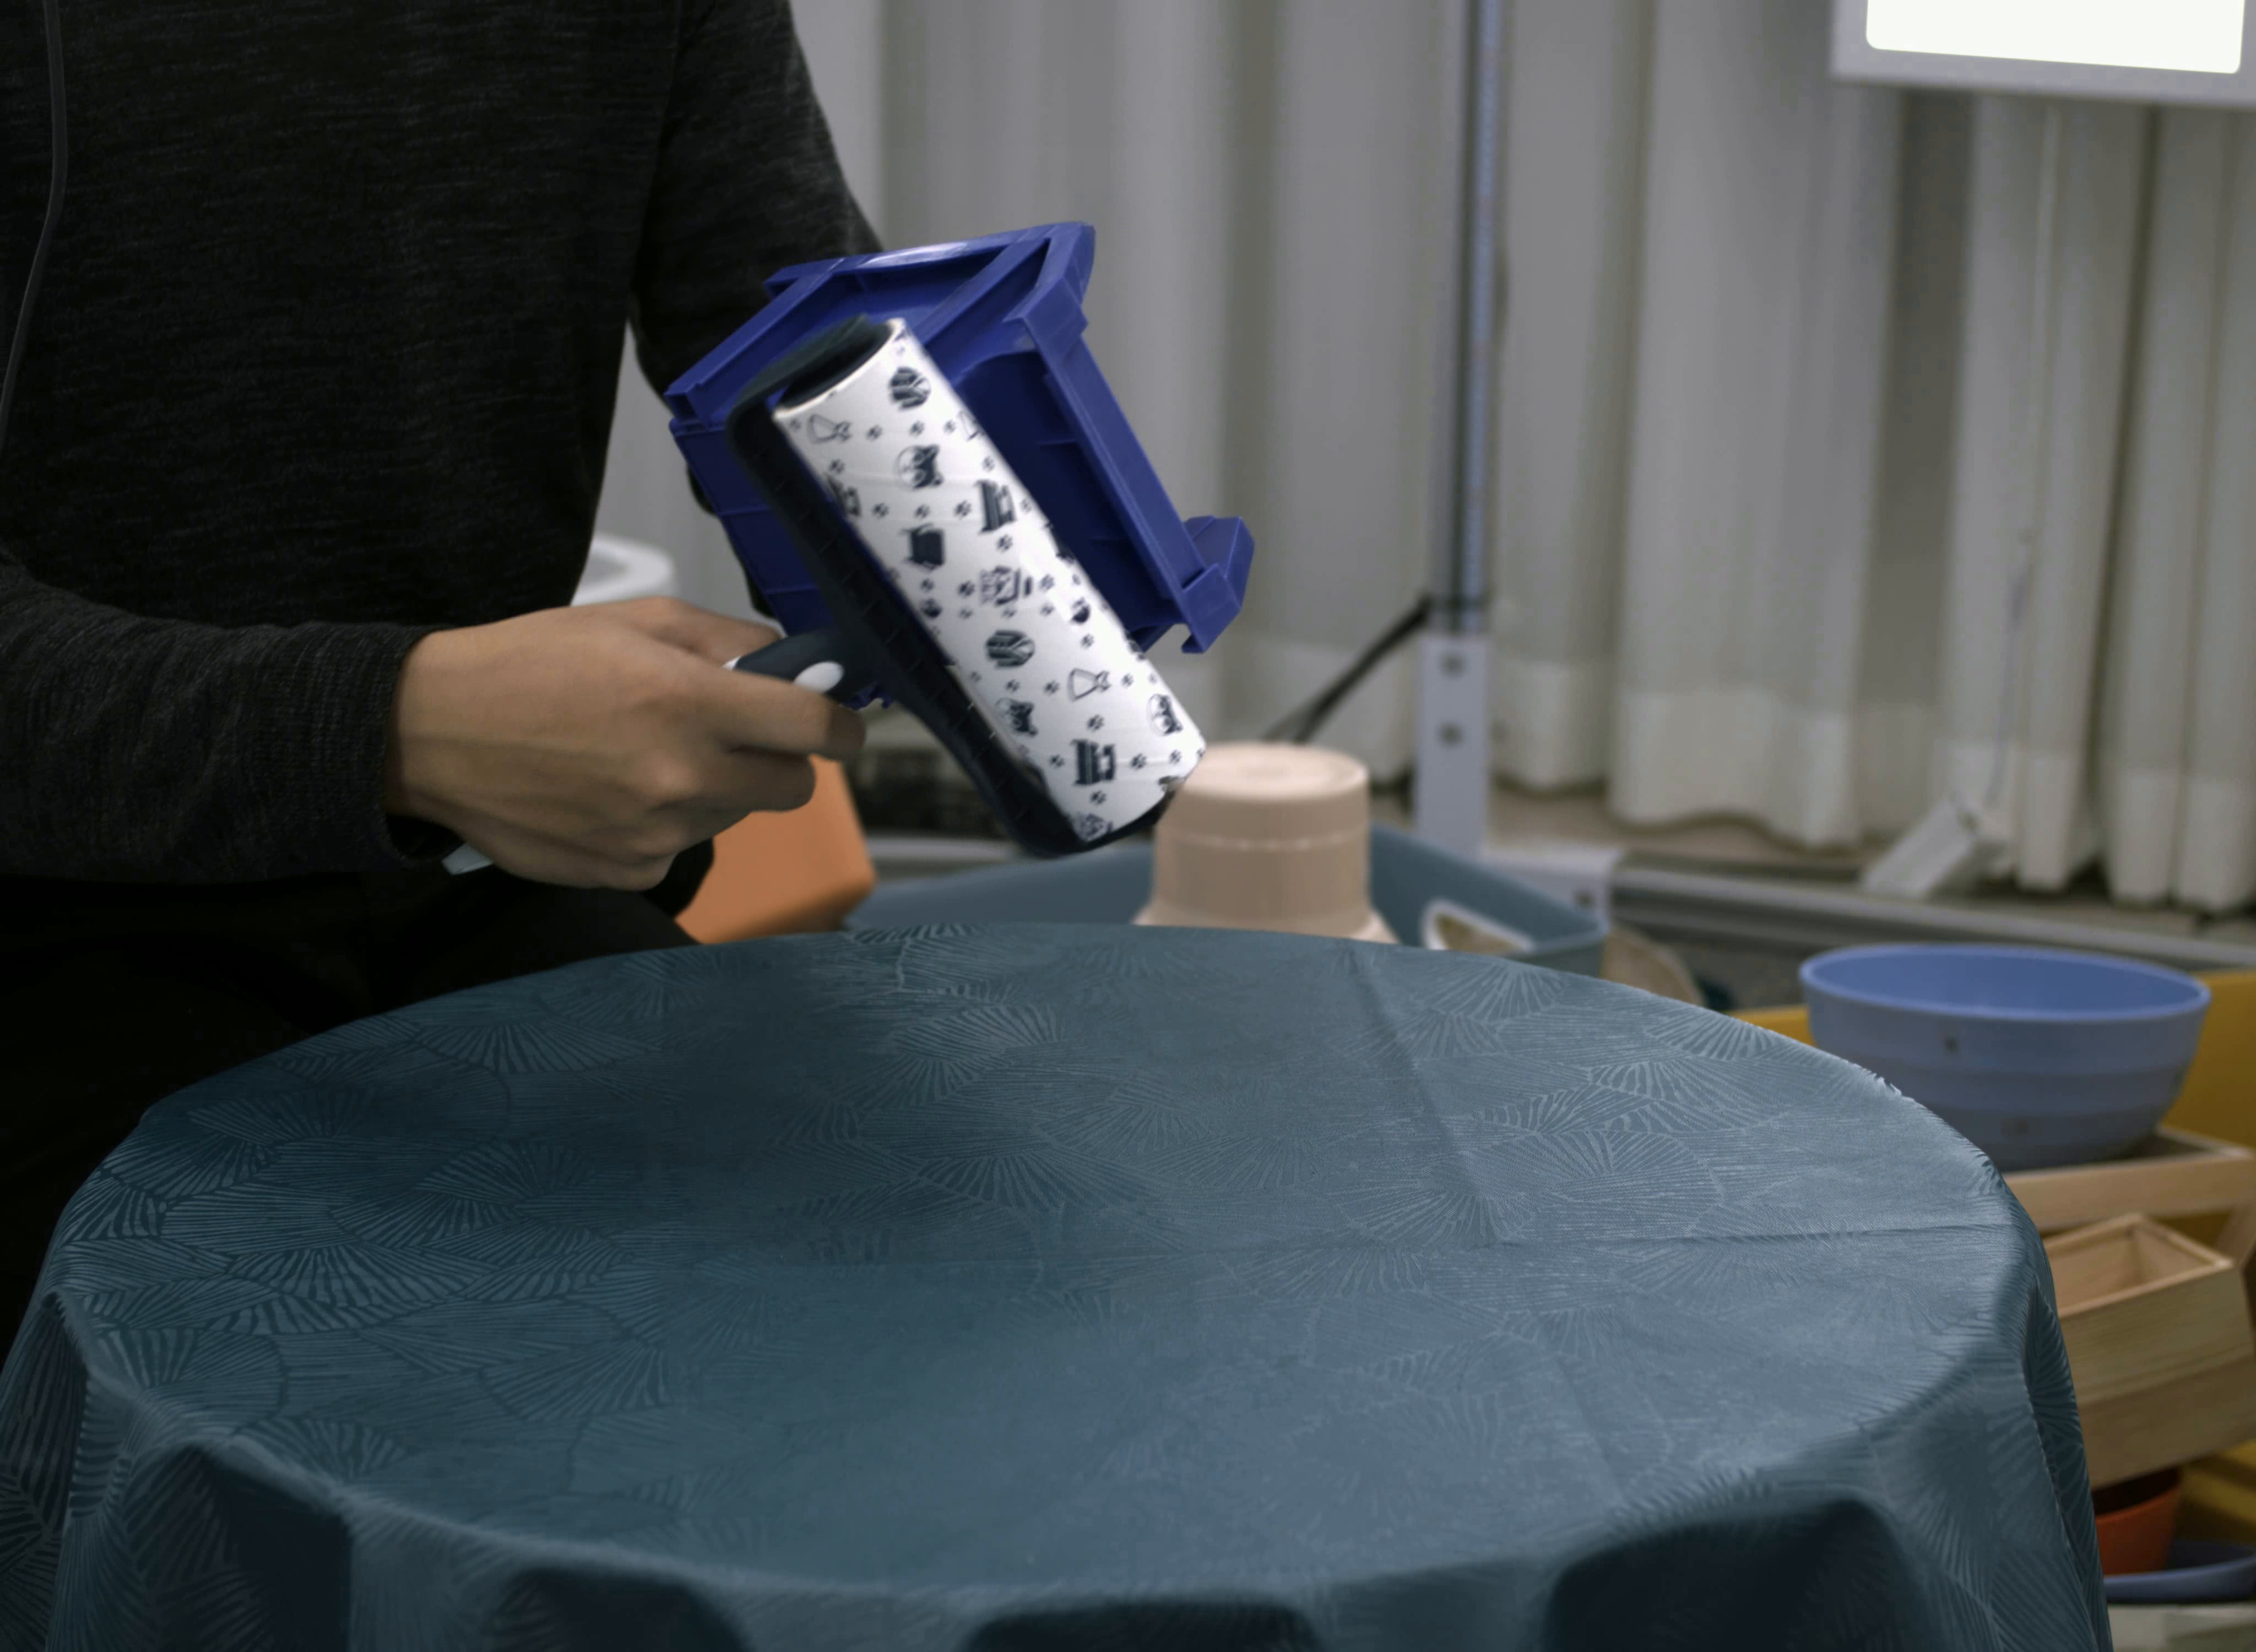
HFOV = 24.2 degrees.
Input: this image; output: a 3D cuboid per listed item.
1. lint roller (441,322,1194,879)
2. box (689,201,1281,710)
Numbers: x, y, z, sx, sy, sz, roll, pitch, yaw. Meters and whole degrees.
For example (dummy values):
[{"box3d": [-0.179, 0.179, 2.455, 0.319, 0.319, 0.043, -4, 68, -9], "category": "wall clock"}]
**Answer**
[{"box3d": [-0.119, -0.031, 1.596, 0.246, 0.178, 0.050, -27, 21, 30], "category": "lint roller"}, {"box3d": [-0.040, -0.112, 1.625, 0.177, 0.126, 0.082, -6, 32, 47], "category": "box"}]
